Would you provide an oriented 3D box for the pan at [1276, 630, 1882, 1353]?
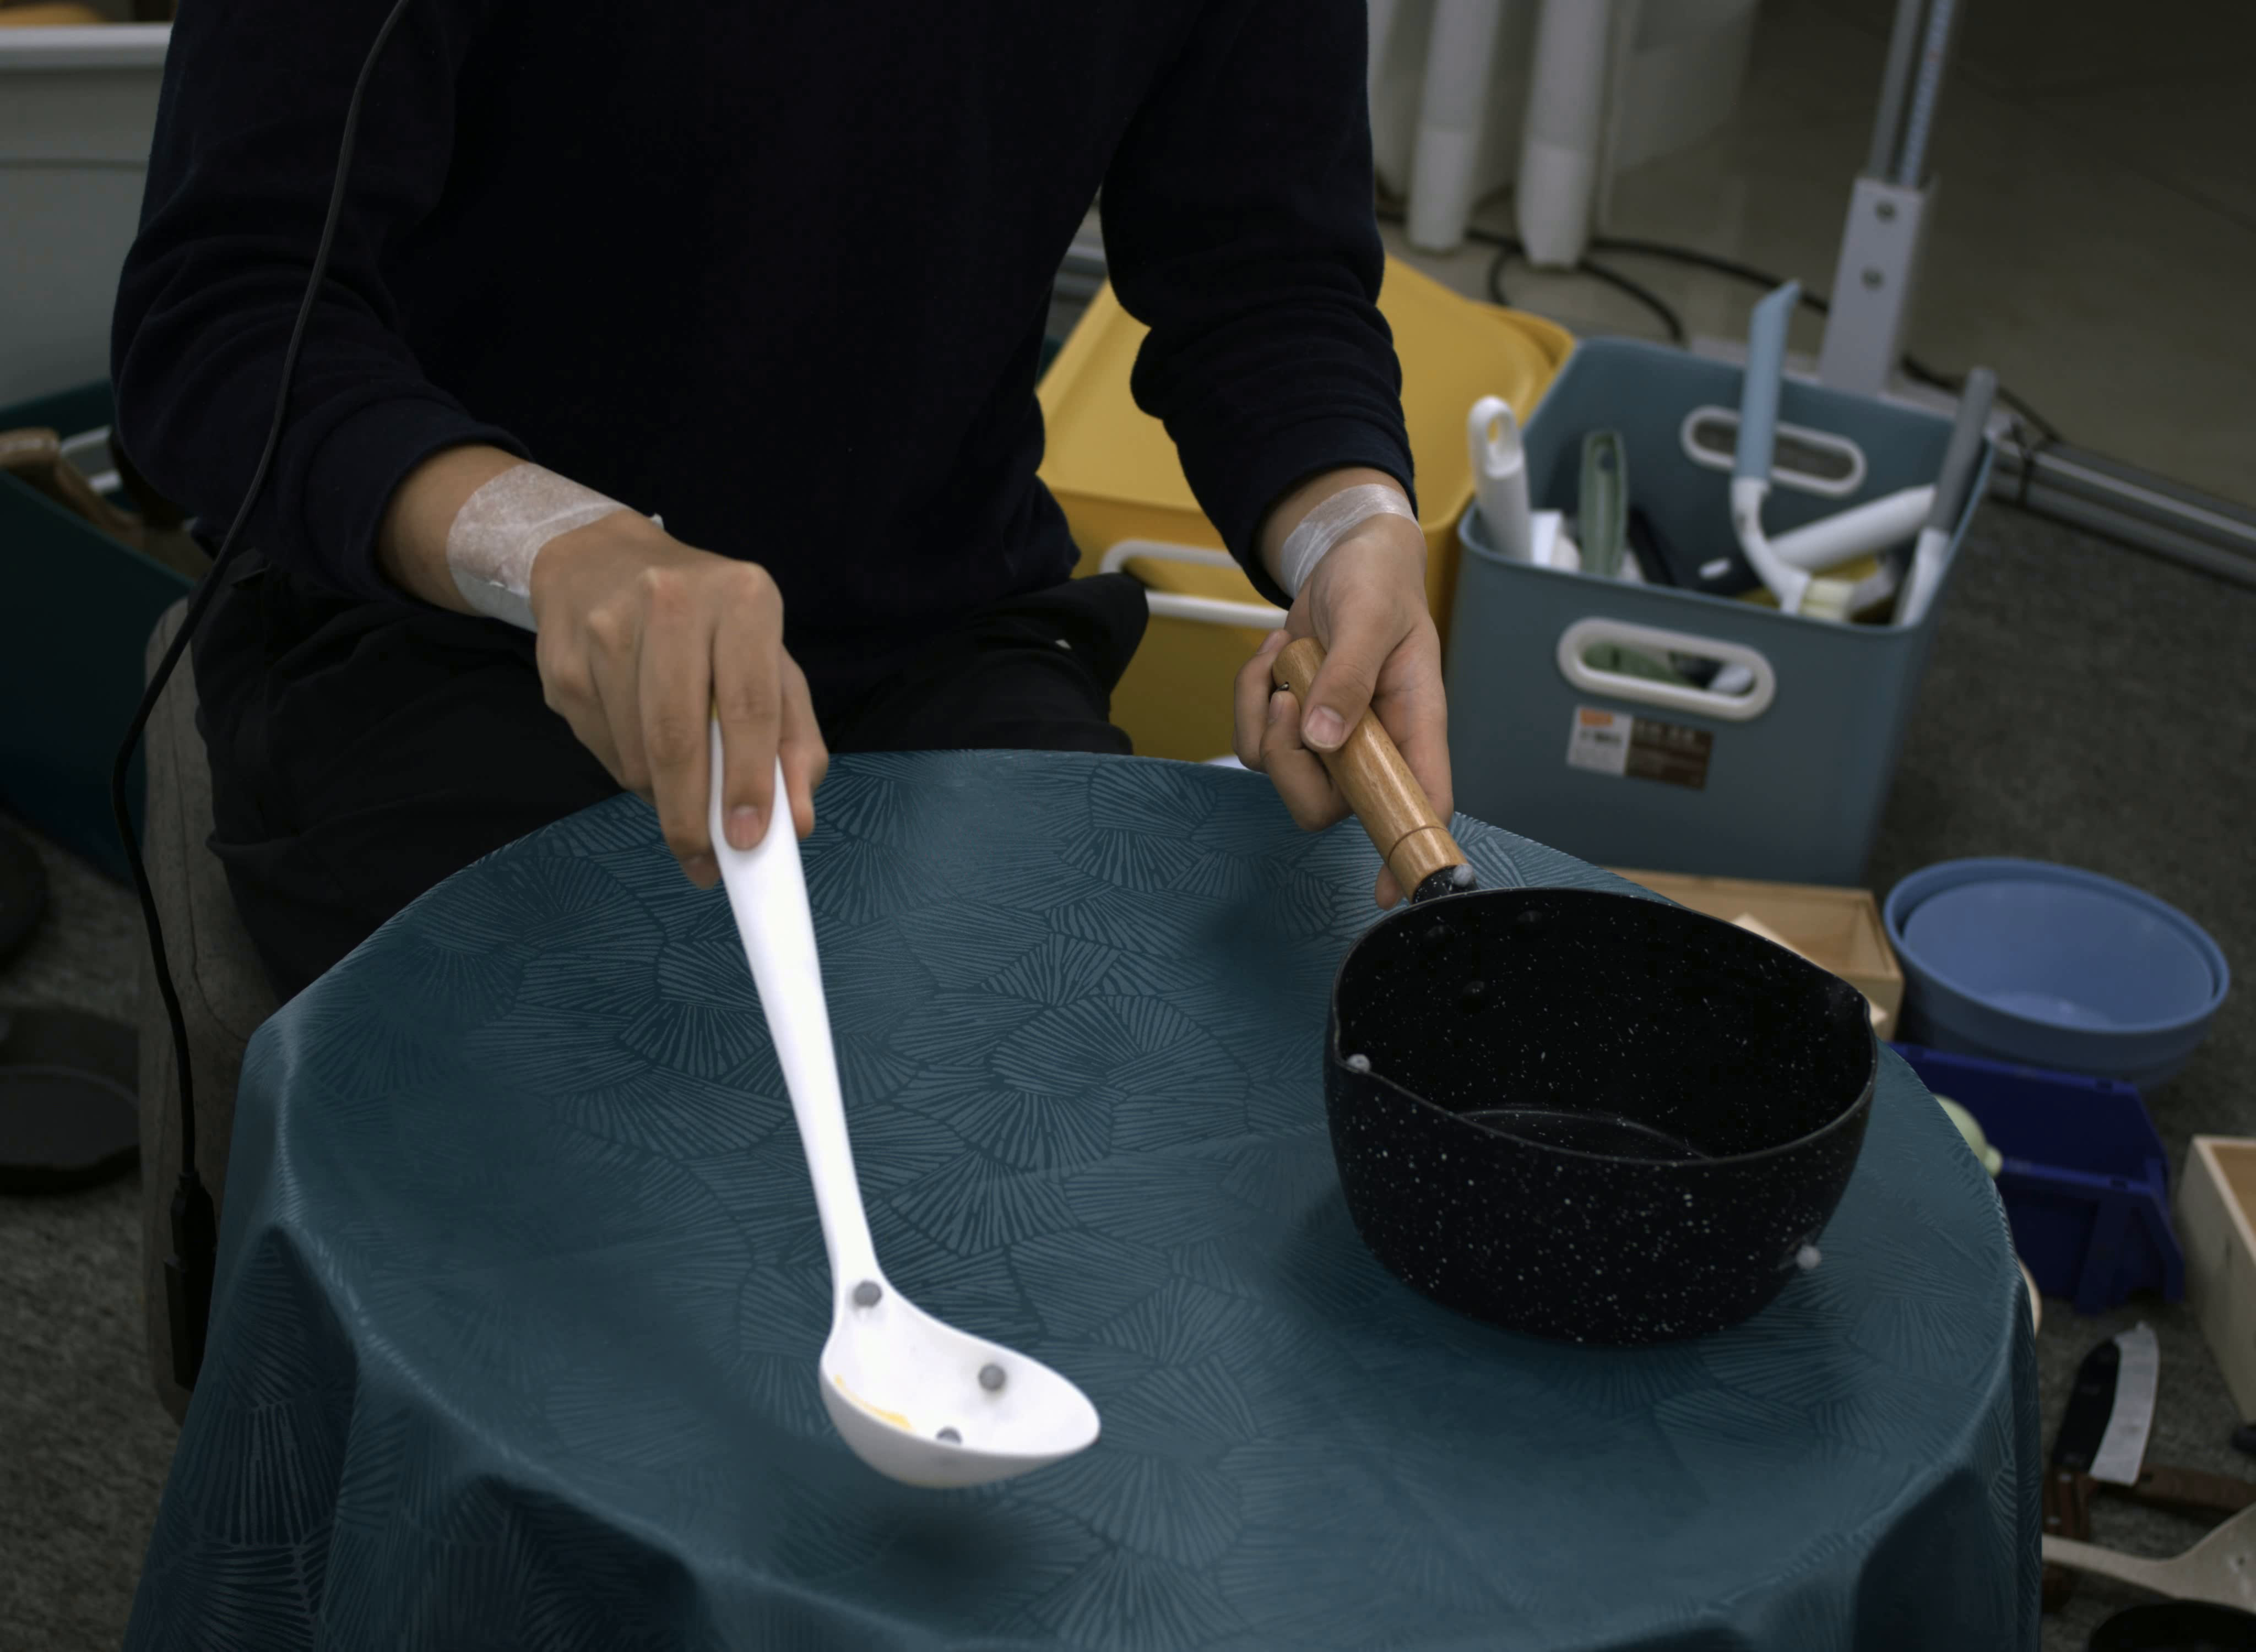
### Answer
[{"bbox_3d":[0.123,0.054,1.847,0.206,0.108,0.346,-7,31,-23],"label":"pan"}]

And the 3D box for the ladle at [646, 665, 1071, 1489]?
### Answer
[{"bbox_3d":[-0.094,0.072,1.632,0.089,0.070,0.295,0,60,-30],"label":"ladle"}]
